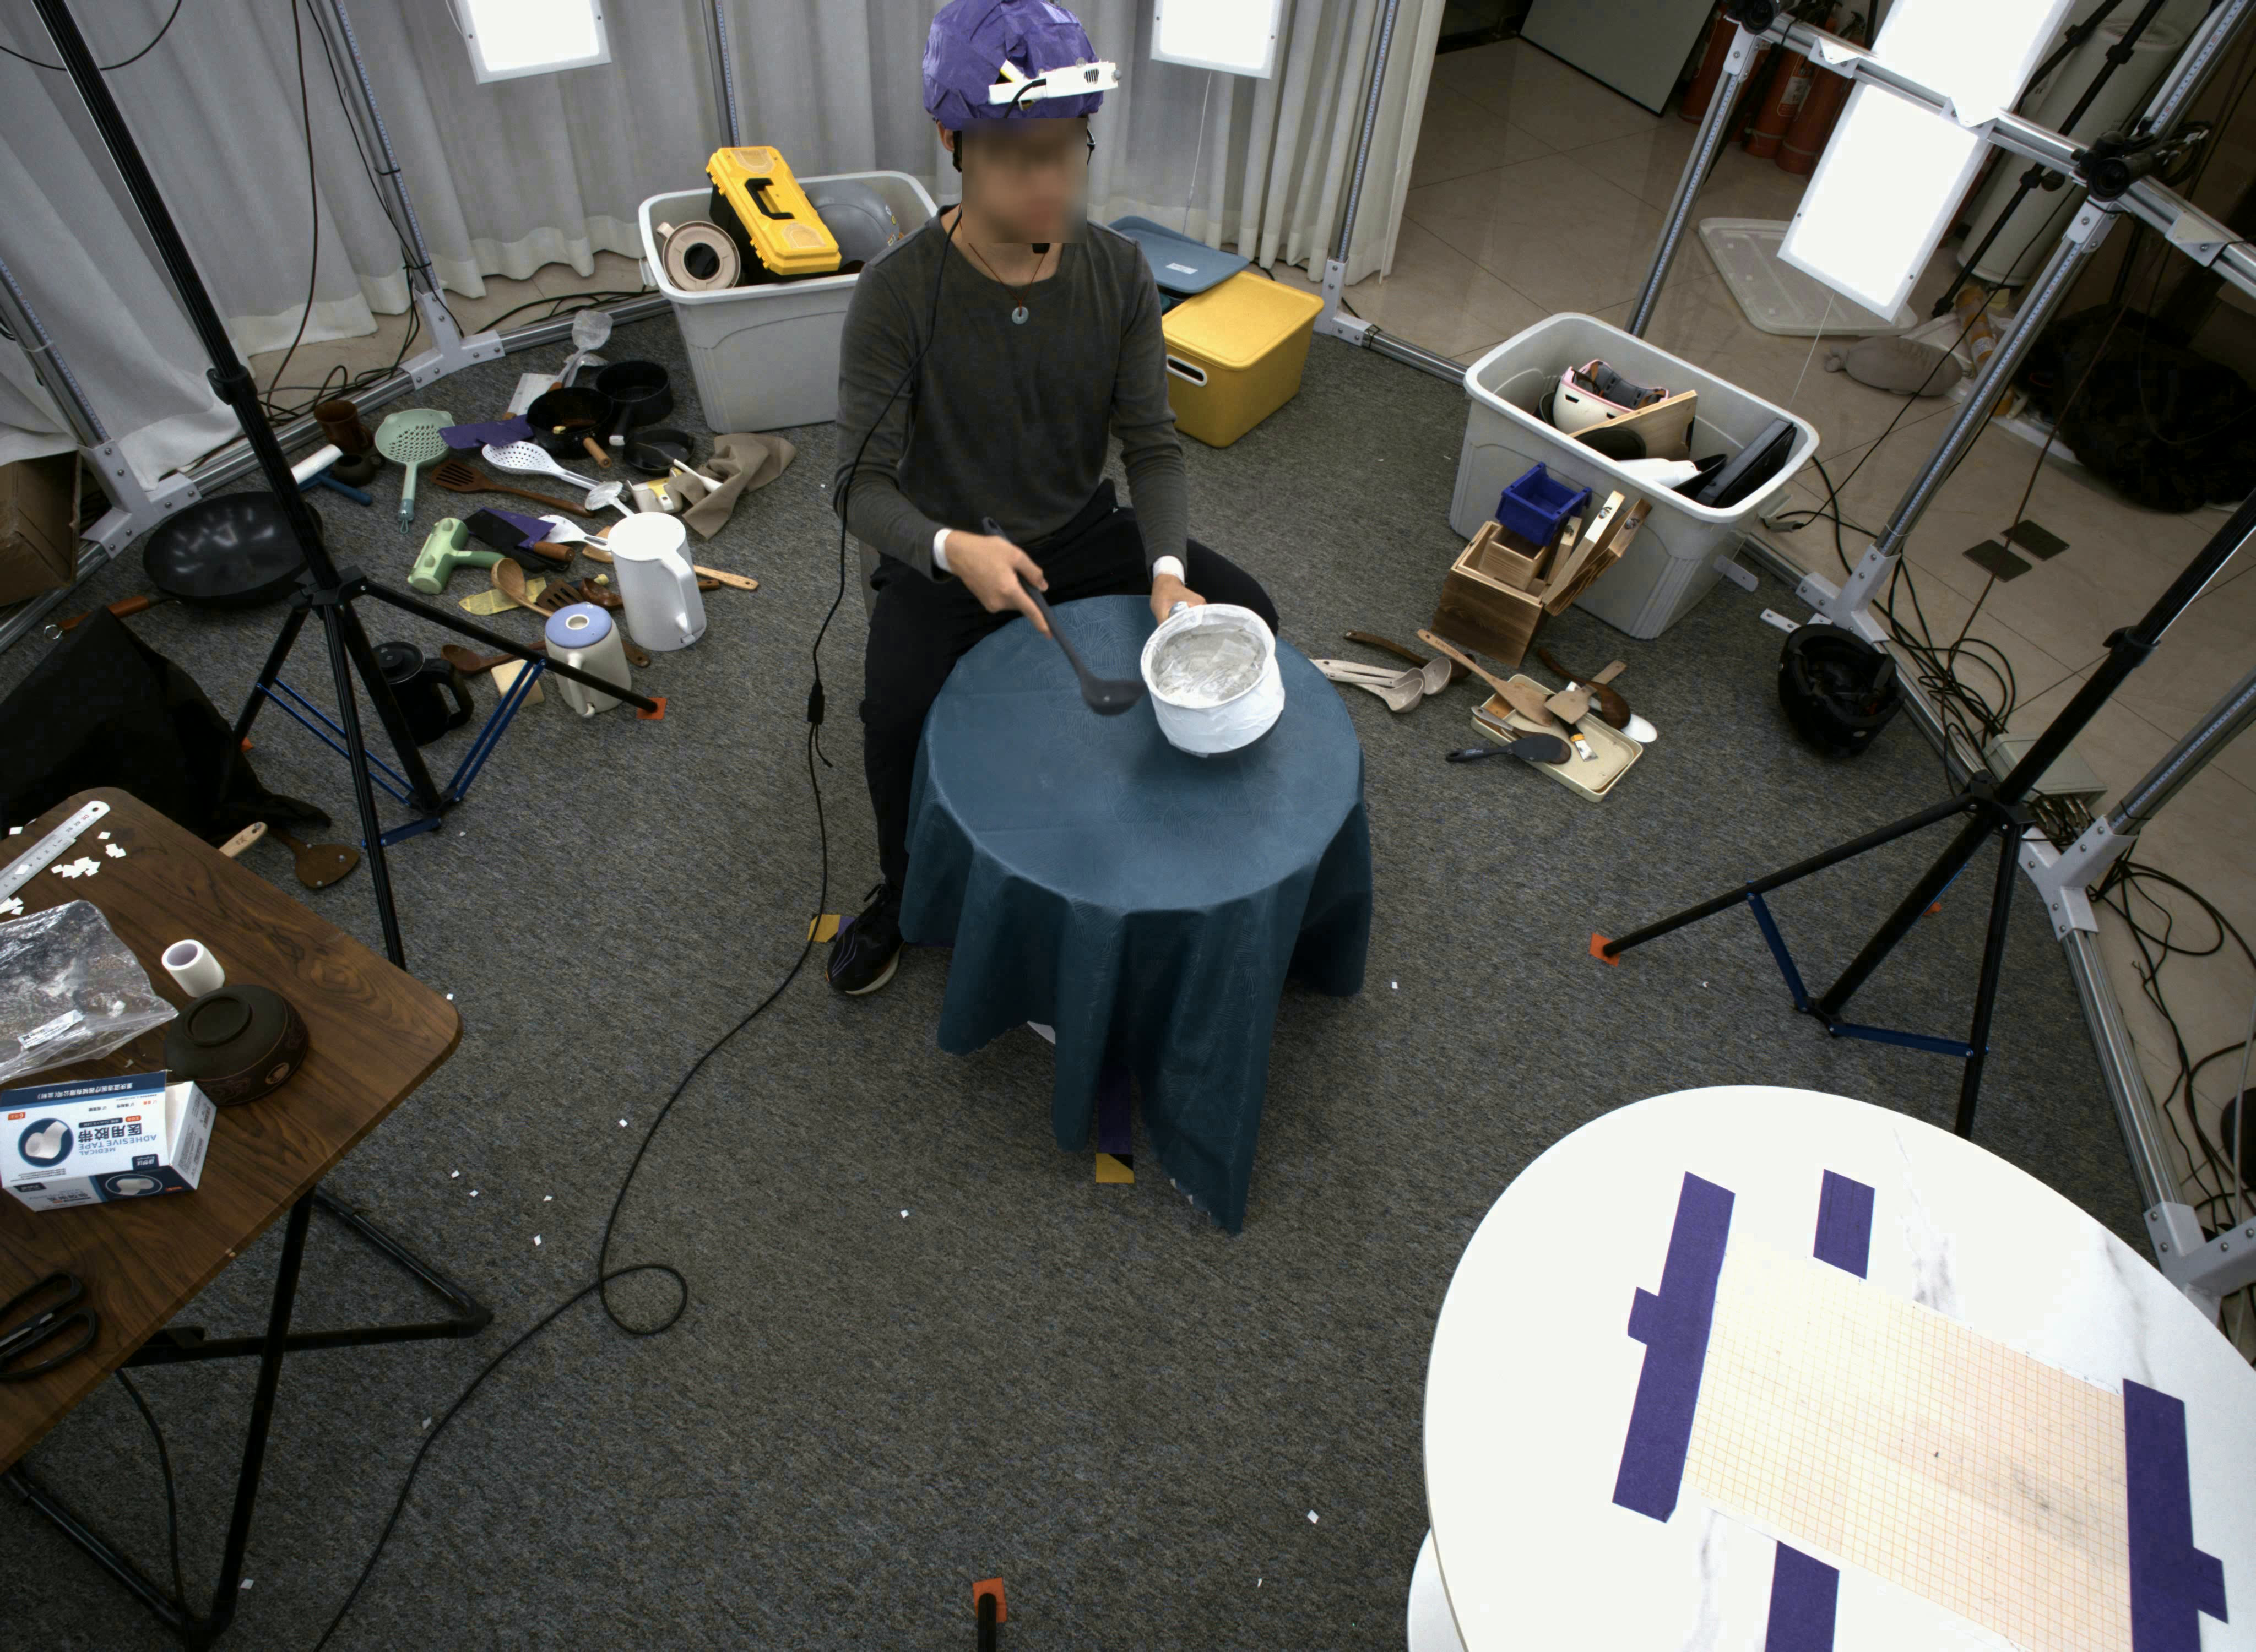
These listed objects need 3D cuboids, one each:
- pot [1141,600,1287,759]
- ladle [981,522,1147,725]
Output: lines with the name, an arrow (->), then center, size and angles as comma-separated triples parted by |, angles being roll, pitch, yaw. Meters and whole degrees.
pot -> 0.108, -0.208, 1.724 | 0.179, 0.133, 0.239 | -24, 52, -1
ladle -> -0.089, -0.263, 1.611 | 0.087, 0.063, 0.316 | -26, 81, -41
